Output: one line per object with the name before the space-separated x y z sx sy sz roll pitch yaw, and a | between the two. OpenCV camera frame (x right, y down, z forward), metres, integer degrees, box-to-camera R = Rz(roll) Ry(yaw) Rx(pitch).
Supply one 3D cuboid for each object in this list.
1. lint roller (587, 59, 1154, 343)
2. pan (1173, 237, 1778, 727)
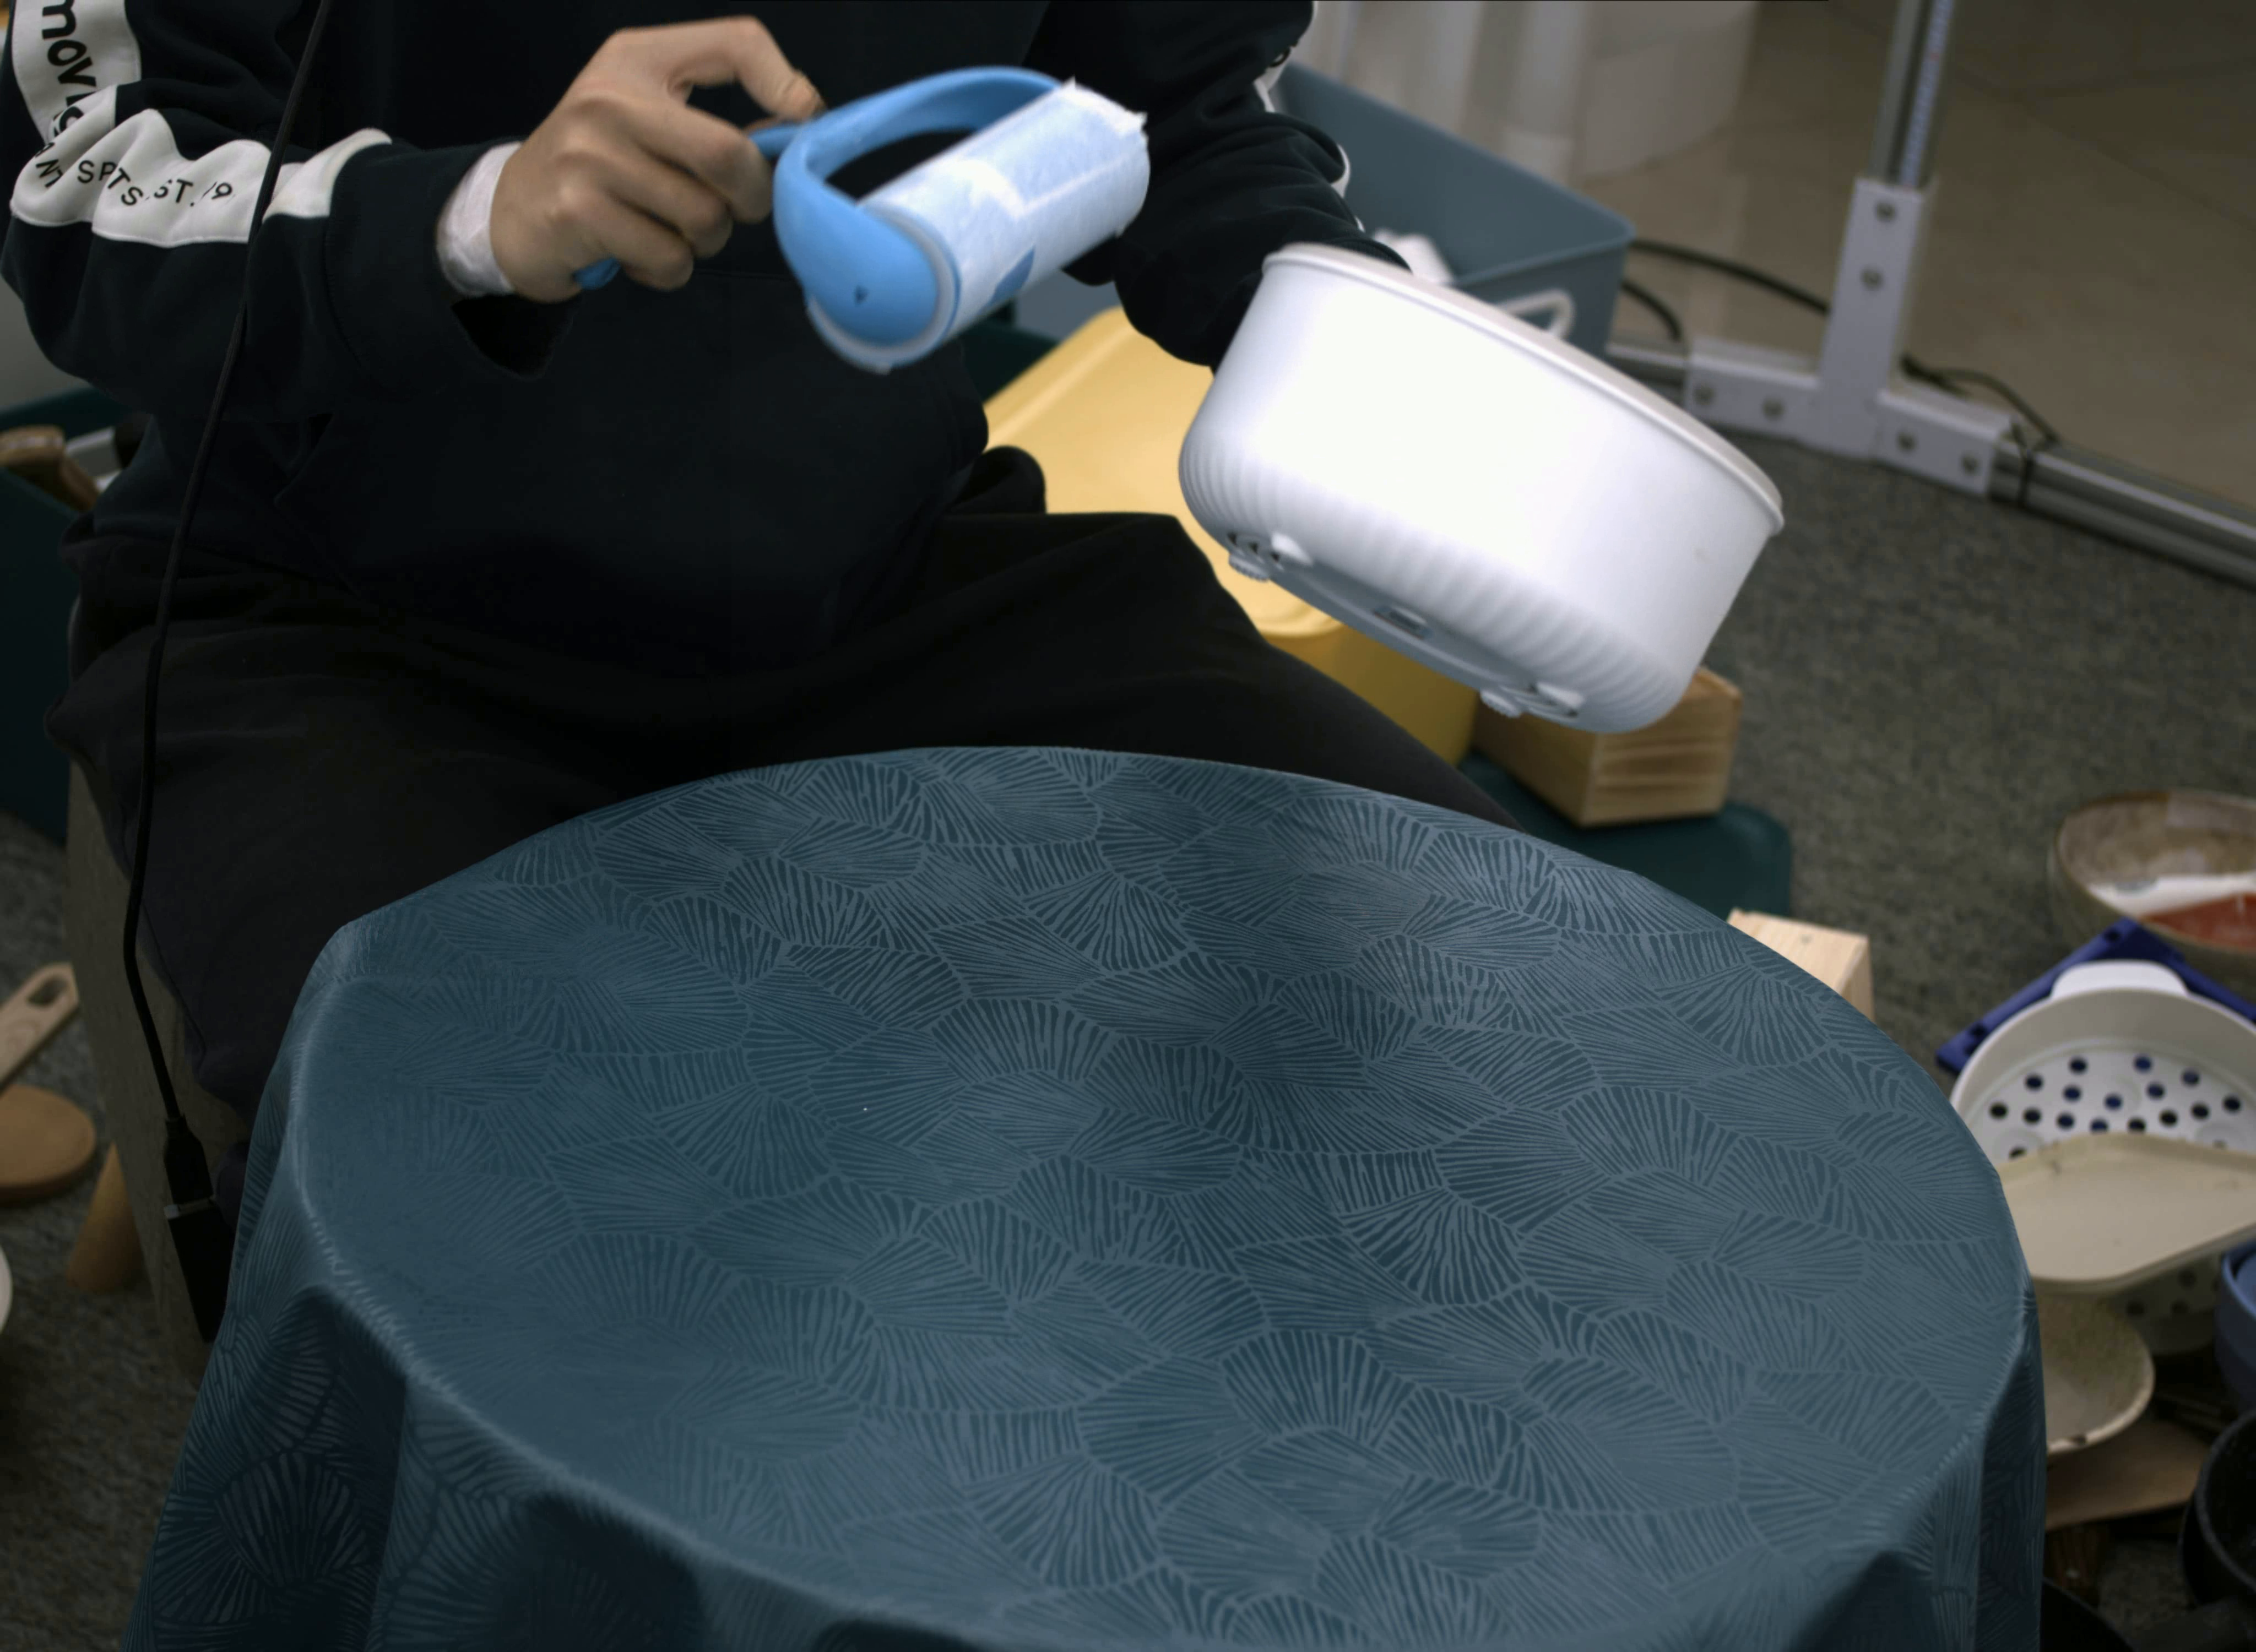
lint roller | -0.102 -0.212 1.802 0.180 0.068 0.229 2 19 16
pan | 0.105 -0.109 1.910 0.200 0.102 0.355 27 -5 -5
